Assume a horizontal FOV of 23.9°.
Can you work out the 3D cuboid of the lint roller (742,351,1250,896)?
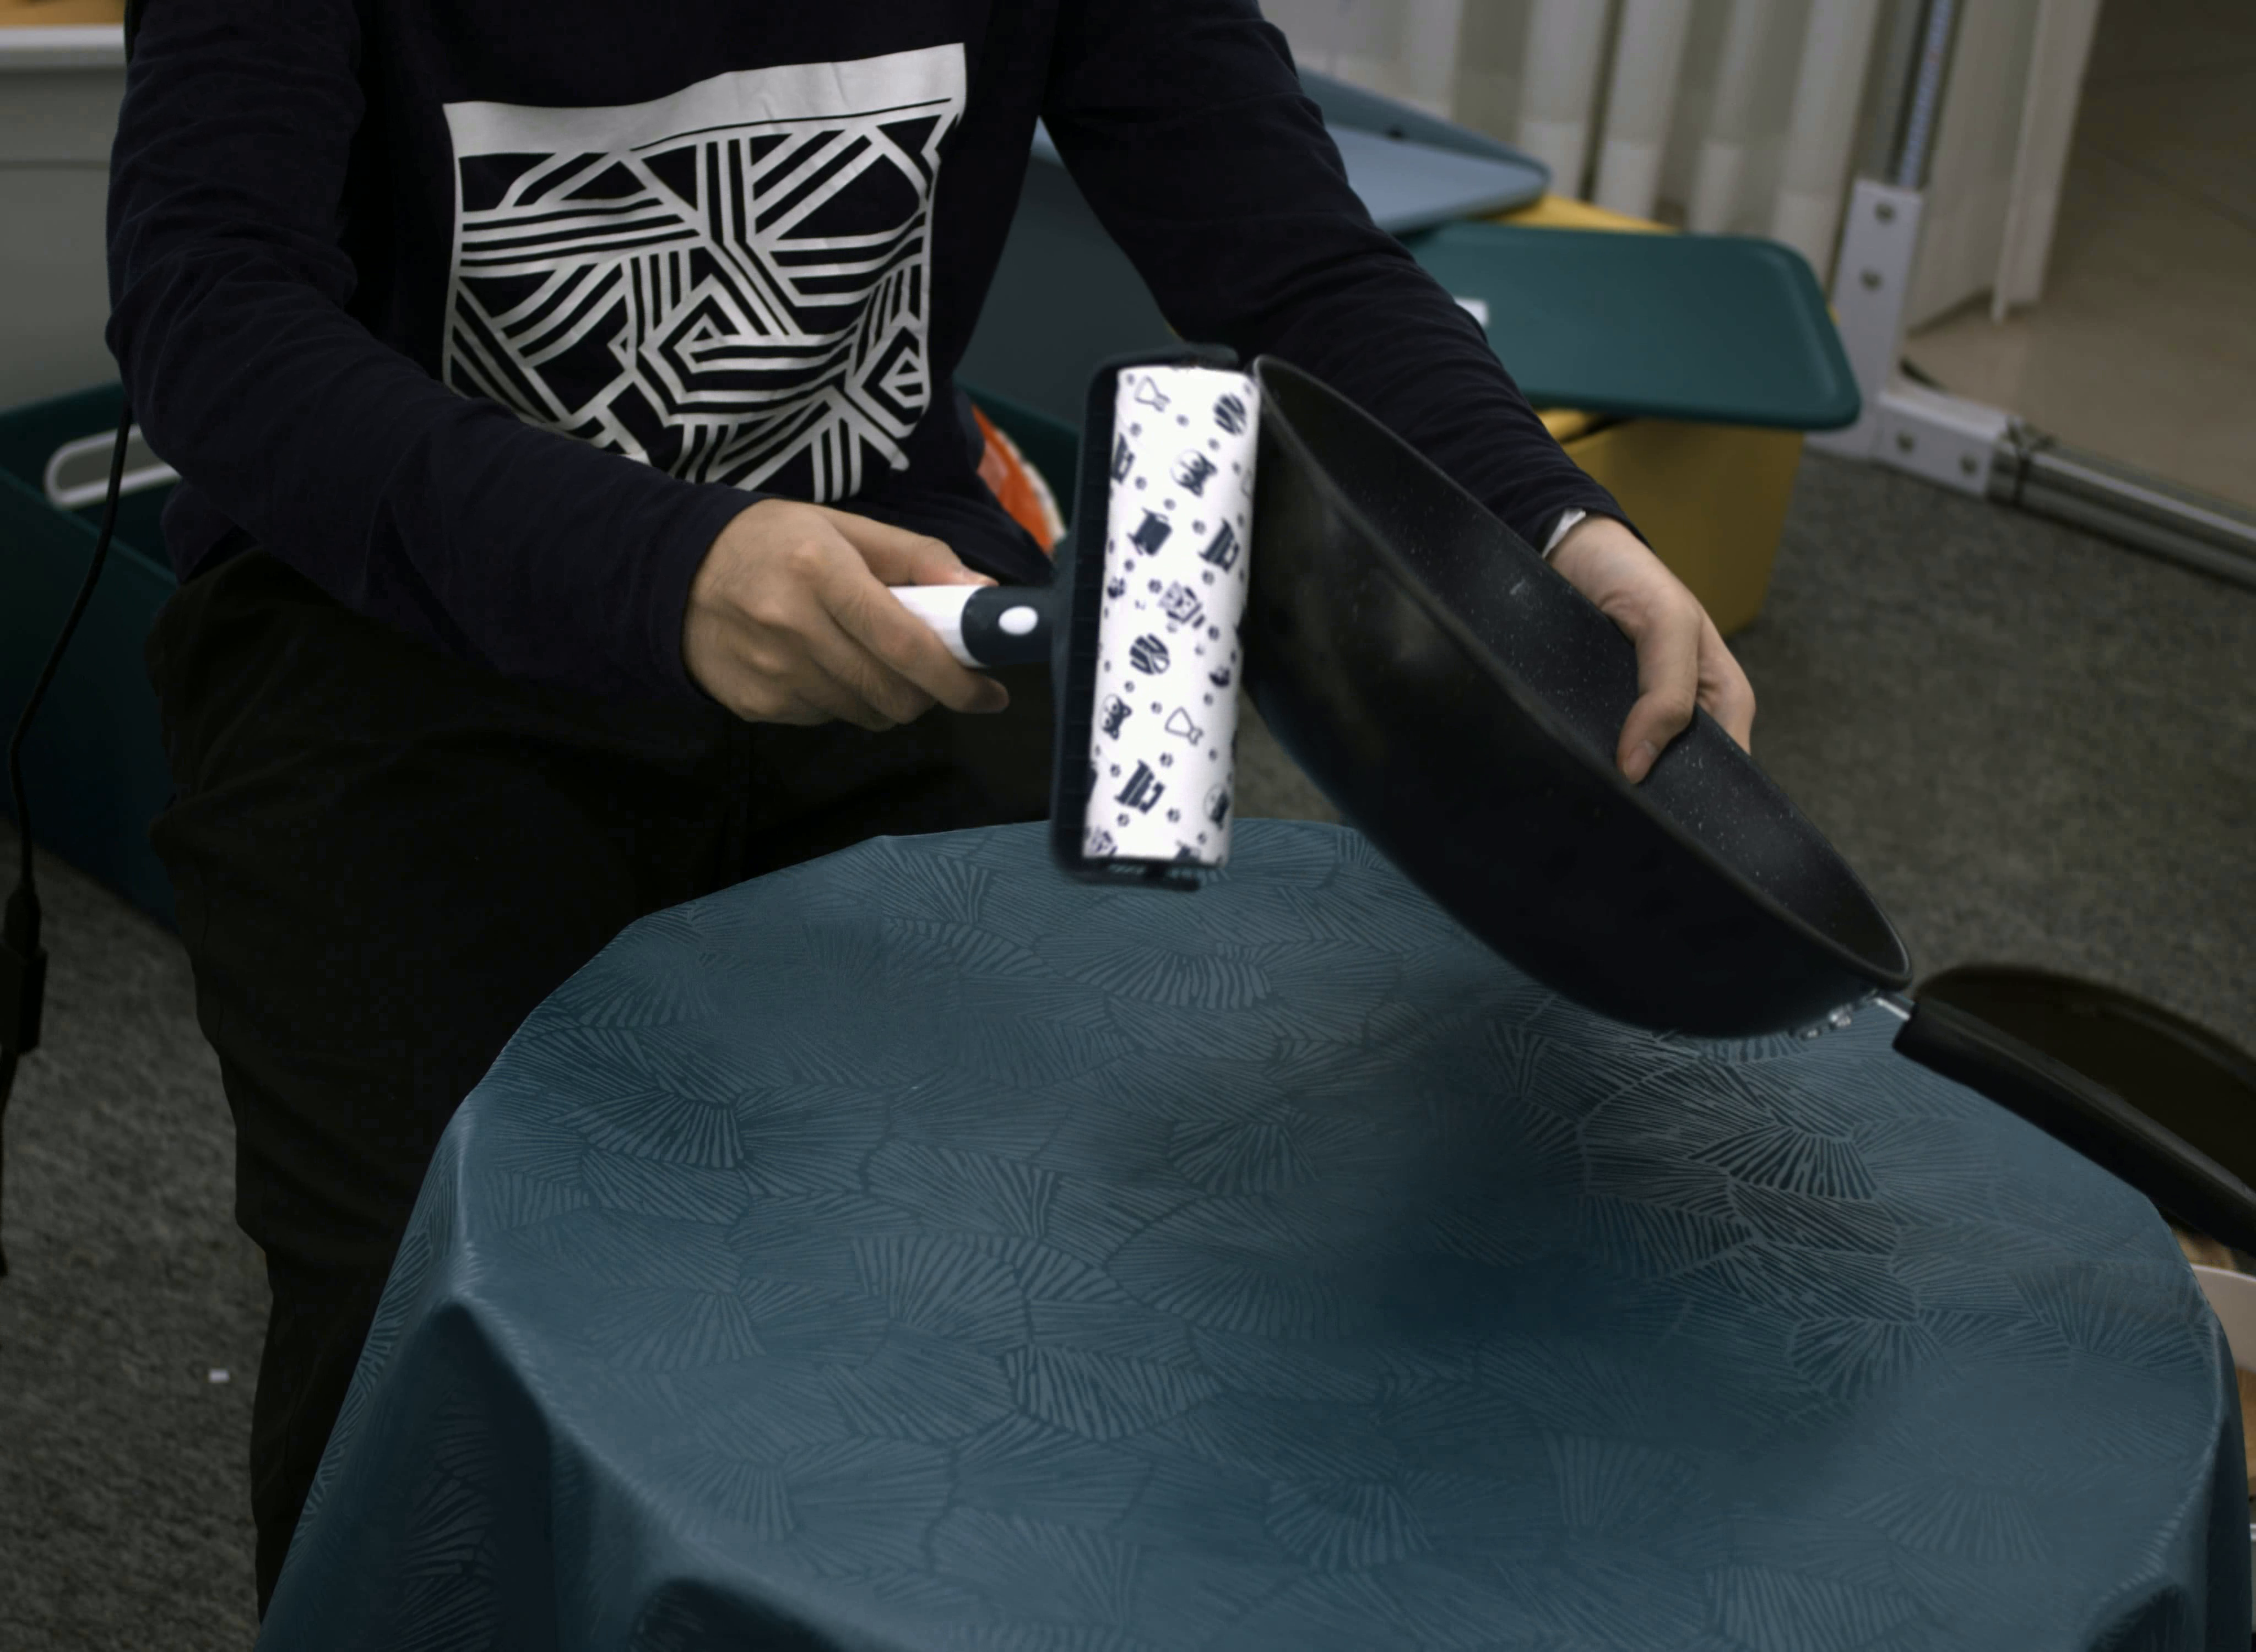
[{"bbox_3d":[-0.057,-0.064,1.801,0.050,0.177,0.248,11,-8,-41],"label":"lint roller"}]

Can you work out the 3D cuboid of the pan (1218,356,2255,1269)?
[{"bbox_3d":[0.189,0.023,1.809,0.477,0.111,0.310,43,13,4],"label":"pan"}]
